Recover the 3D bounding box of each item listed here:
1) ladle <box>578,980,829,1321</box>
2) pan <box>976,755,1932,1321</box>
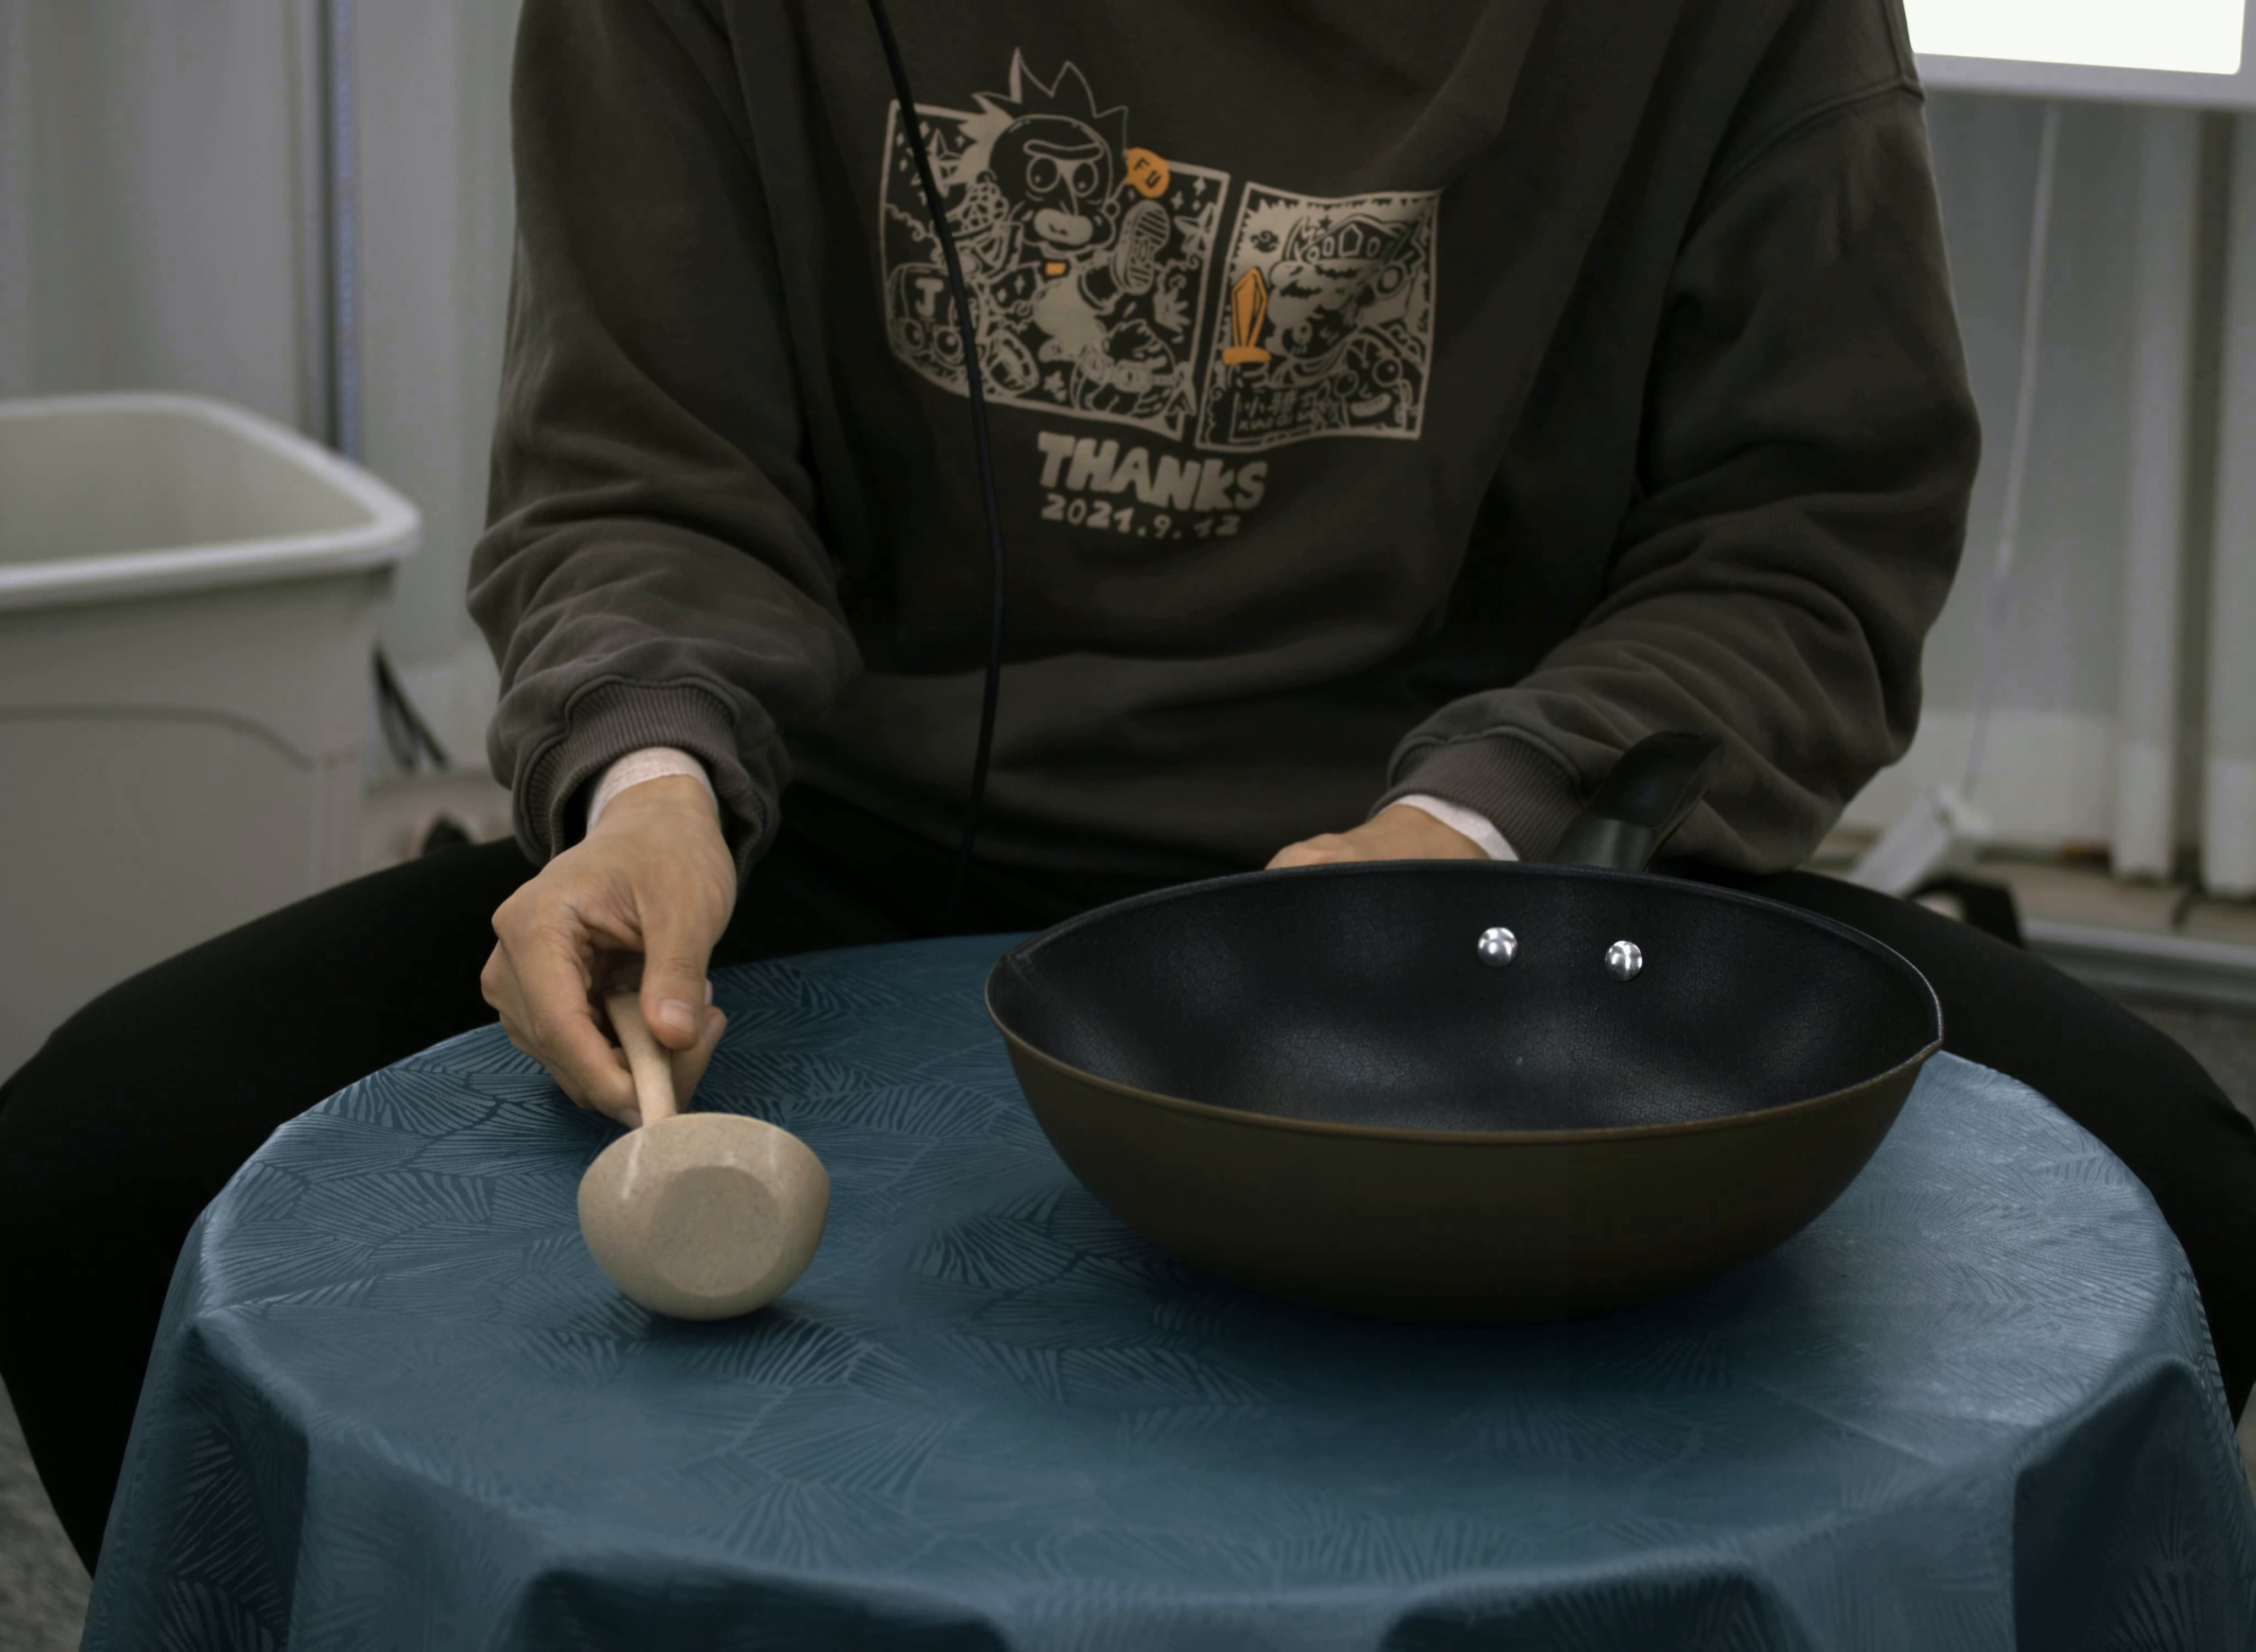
[{"bbox_3d":[-0.142,0.069,1.597,0.072,0.073,0.251,1,23,-14],"label":"ladle"},{"bbox_3d":[0.124,0.063,1.659,0.285,0.087,0.463,5,15,17],"label":"pan"}]
